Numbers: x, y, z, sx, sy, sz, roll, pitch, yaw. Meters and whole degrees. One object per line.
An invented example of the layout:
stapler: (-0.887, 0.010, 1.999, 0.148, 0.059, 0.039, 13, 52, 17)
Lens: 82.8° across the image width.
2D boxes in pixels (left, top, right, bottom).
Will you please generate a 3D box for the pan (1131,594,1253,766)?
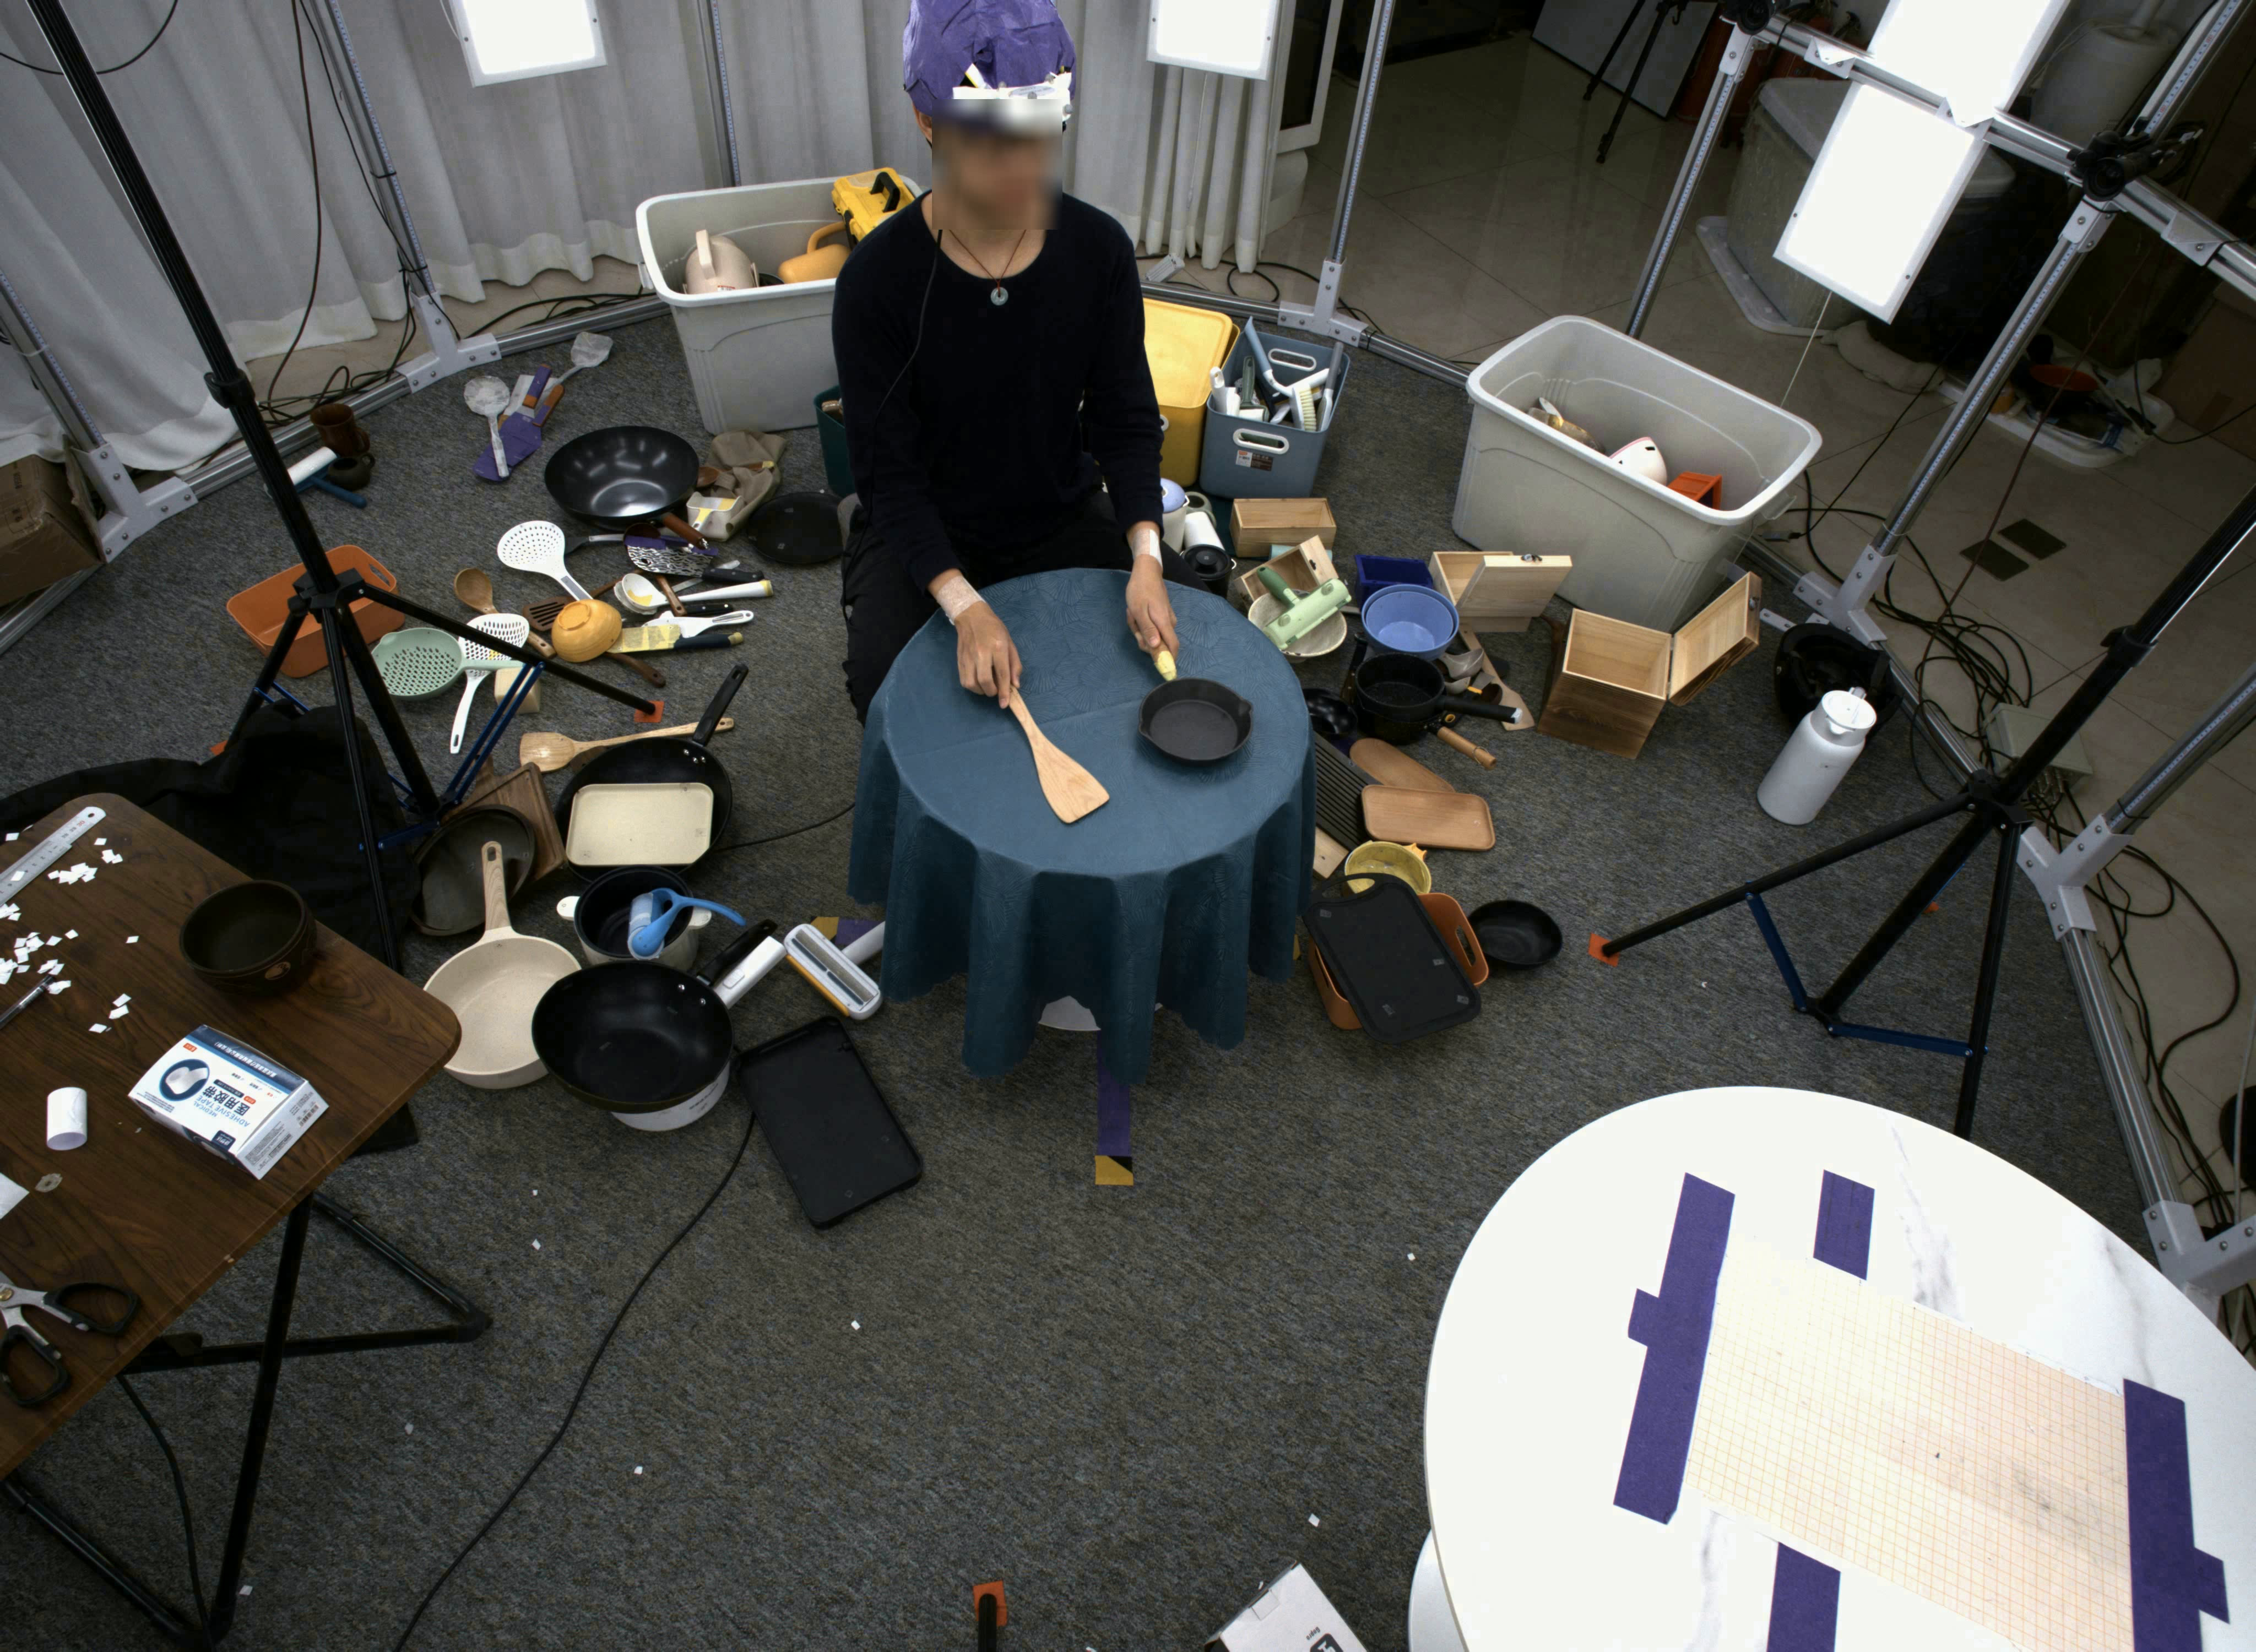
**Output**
pan: (0.066, -0.209, 1.821, 0.169, 0.048, 0.332, -12, 52, -14)

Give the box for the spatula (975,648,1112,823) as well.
spatula: (-0.128, -0.133, 1.754, 0.080, 0.016, 0.334, -21, 59, -22)
